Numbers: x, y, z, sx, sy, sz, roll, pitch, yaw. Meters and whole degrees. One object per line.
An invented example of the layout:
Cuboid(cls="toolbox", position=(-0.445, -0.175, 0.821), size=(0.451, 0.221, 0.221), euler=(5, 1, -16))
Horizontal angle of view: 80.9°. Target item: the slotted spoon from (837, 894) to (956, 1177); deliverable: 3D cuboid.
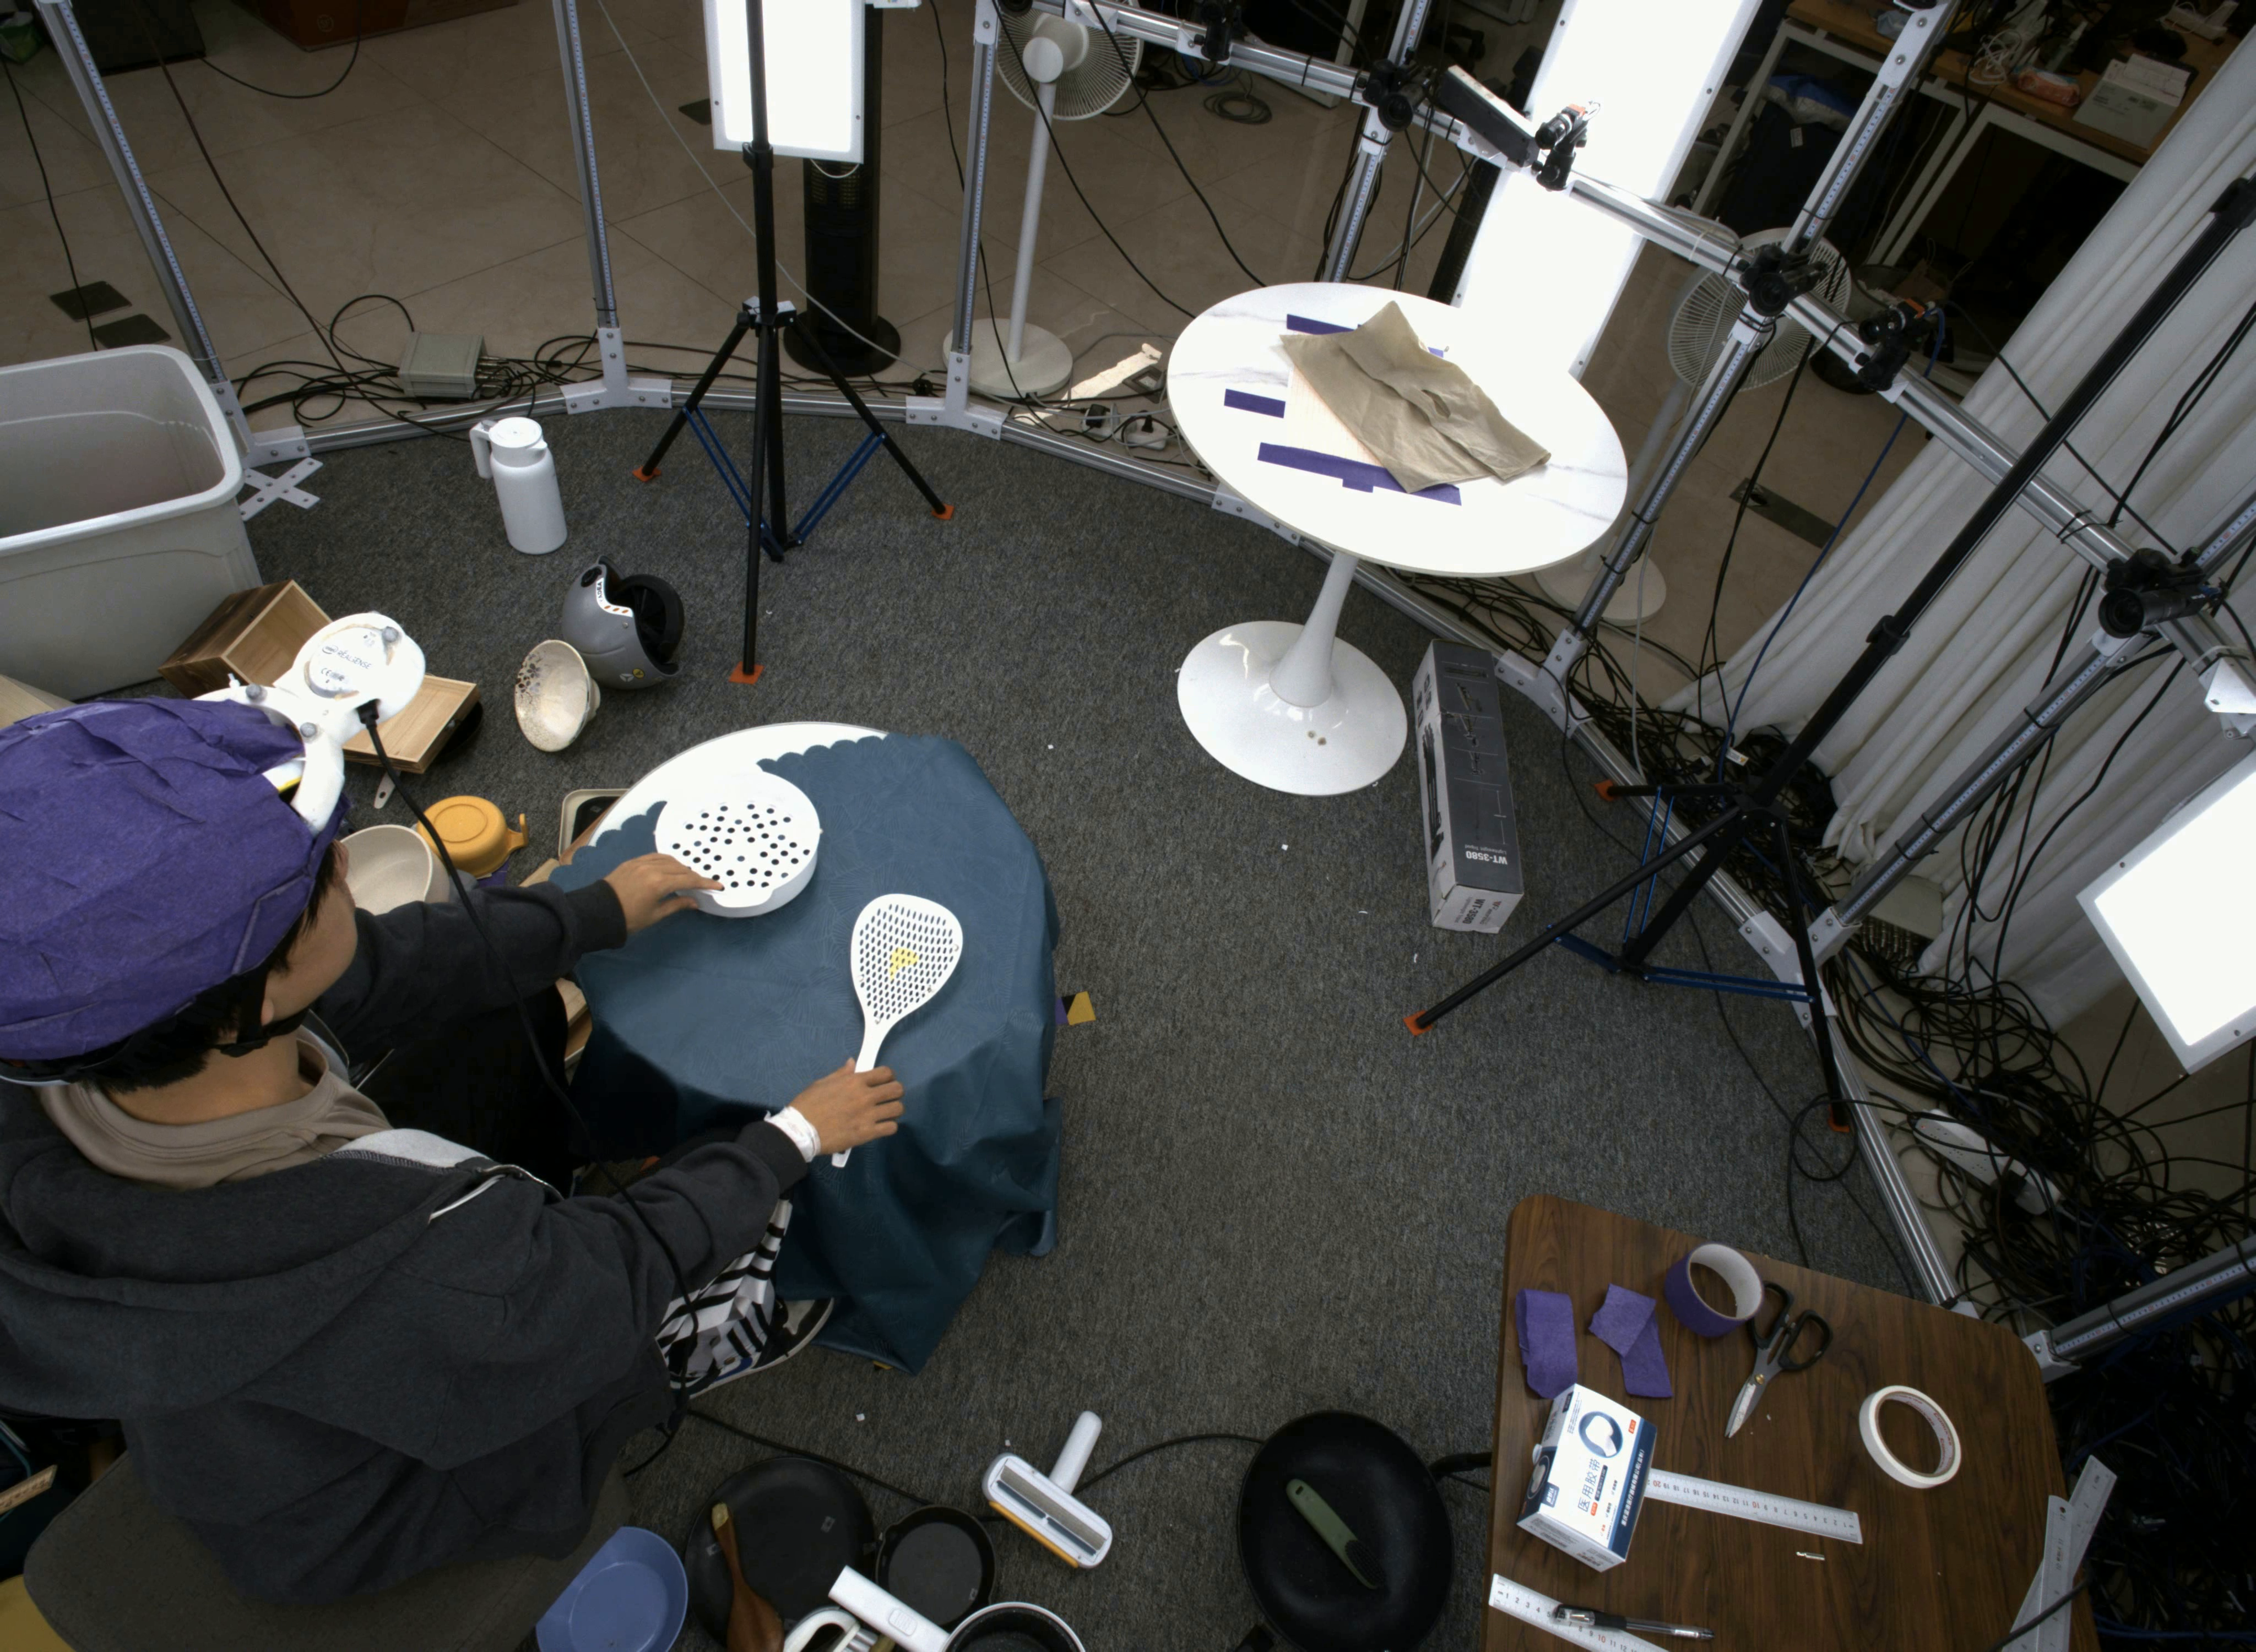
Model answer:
Cuboid(cls="slotted spoon", position=(-0.304, 0.242, 1.564), size=(0.137, 0.051, 0.344), euler=(17, 57, -9))

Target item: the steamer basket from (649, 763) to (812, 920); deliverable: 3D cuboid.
Cuboid(cls="steamer basket", position=(-0.505, 0.024, 1.647), size=(0.202, 0.071, 0.225), euler=(-6, 54, -17))
